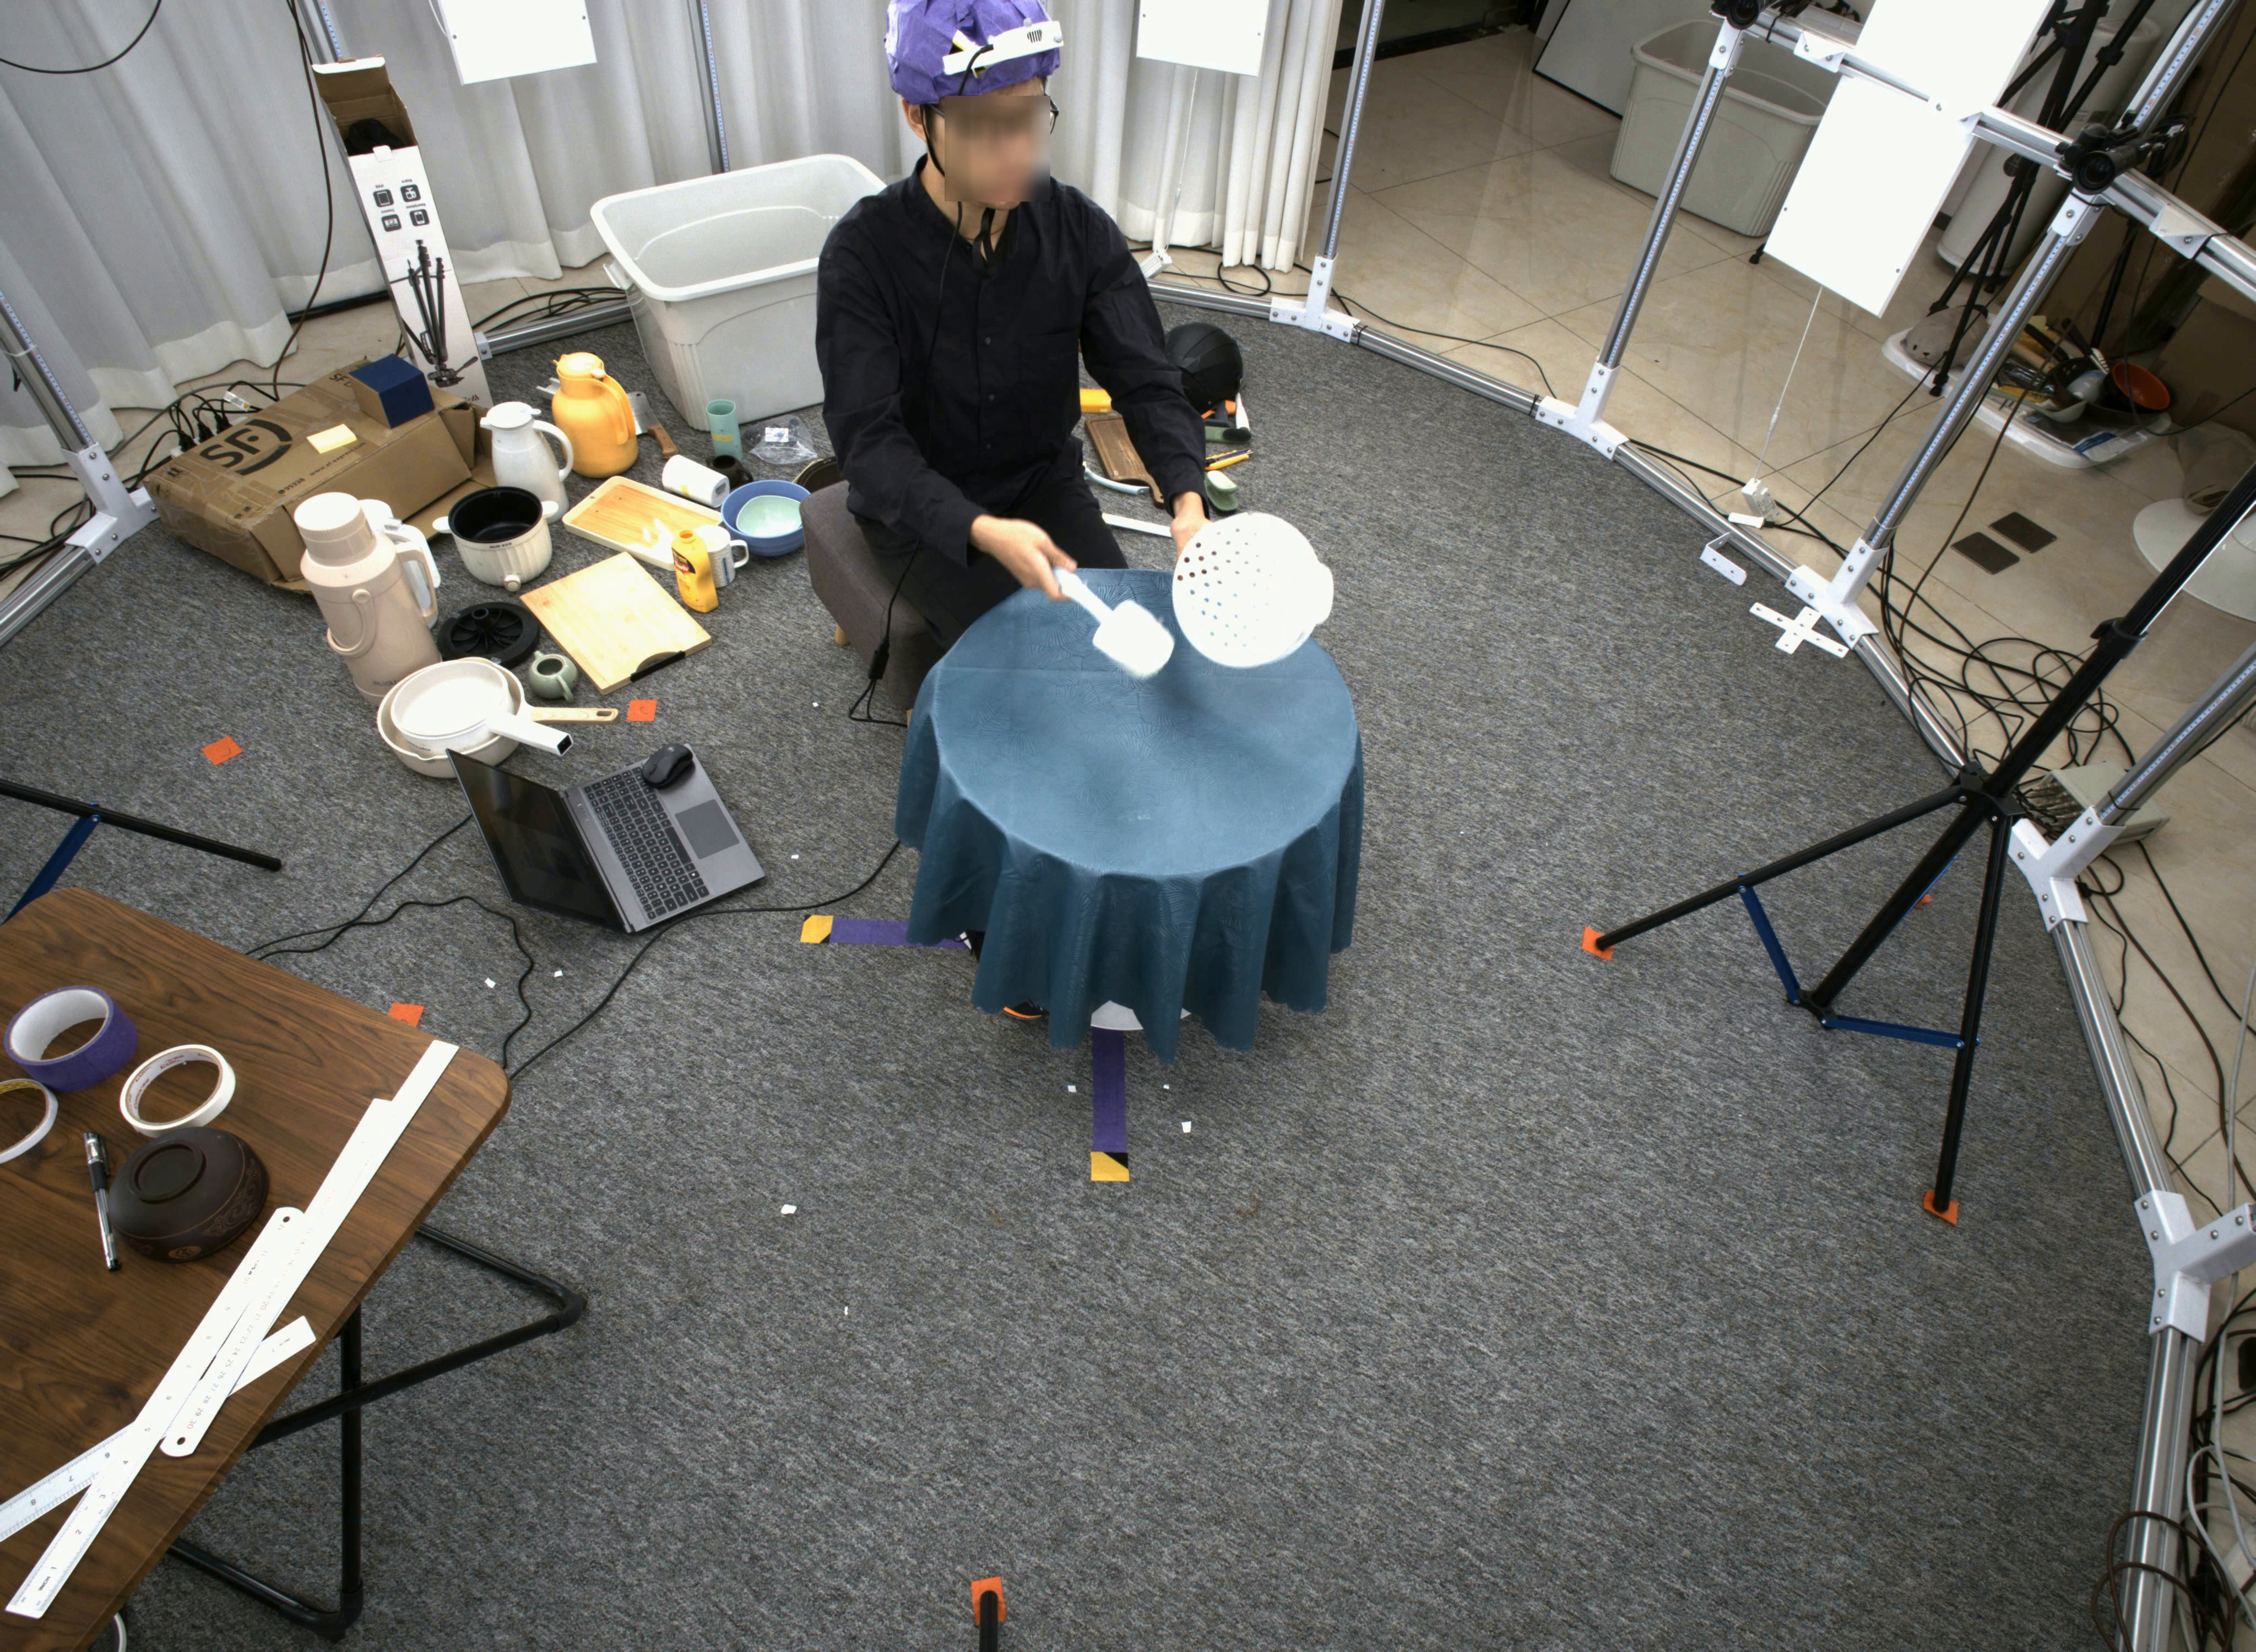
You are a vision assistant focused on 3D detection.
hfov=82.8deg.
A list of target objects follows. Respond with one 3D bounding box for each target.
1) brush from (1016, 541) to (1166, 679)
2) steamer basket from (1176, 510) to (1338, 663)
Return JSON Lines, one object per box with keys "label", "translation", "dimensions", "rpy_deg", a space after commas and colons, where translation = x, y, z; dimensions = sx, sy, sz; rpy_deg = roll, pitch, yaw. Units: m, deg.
{"label": "brush", "translation": [-0.045, -0.288, 1.717], "dimensions": [0.083, 0.082, 0.332], "rpy_deg": [-19, 43, -26]}
{"label": "steamer basket", "translation": [0.161, -0.318, 1.718], "dimensions": [0.232, 0.200, 0.069], "rpy_deg": [6, 15, 27]}
